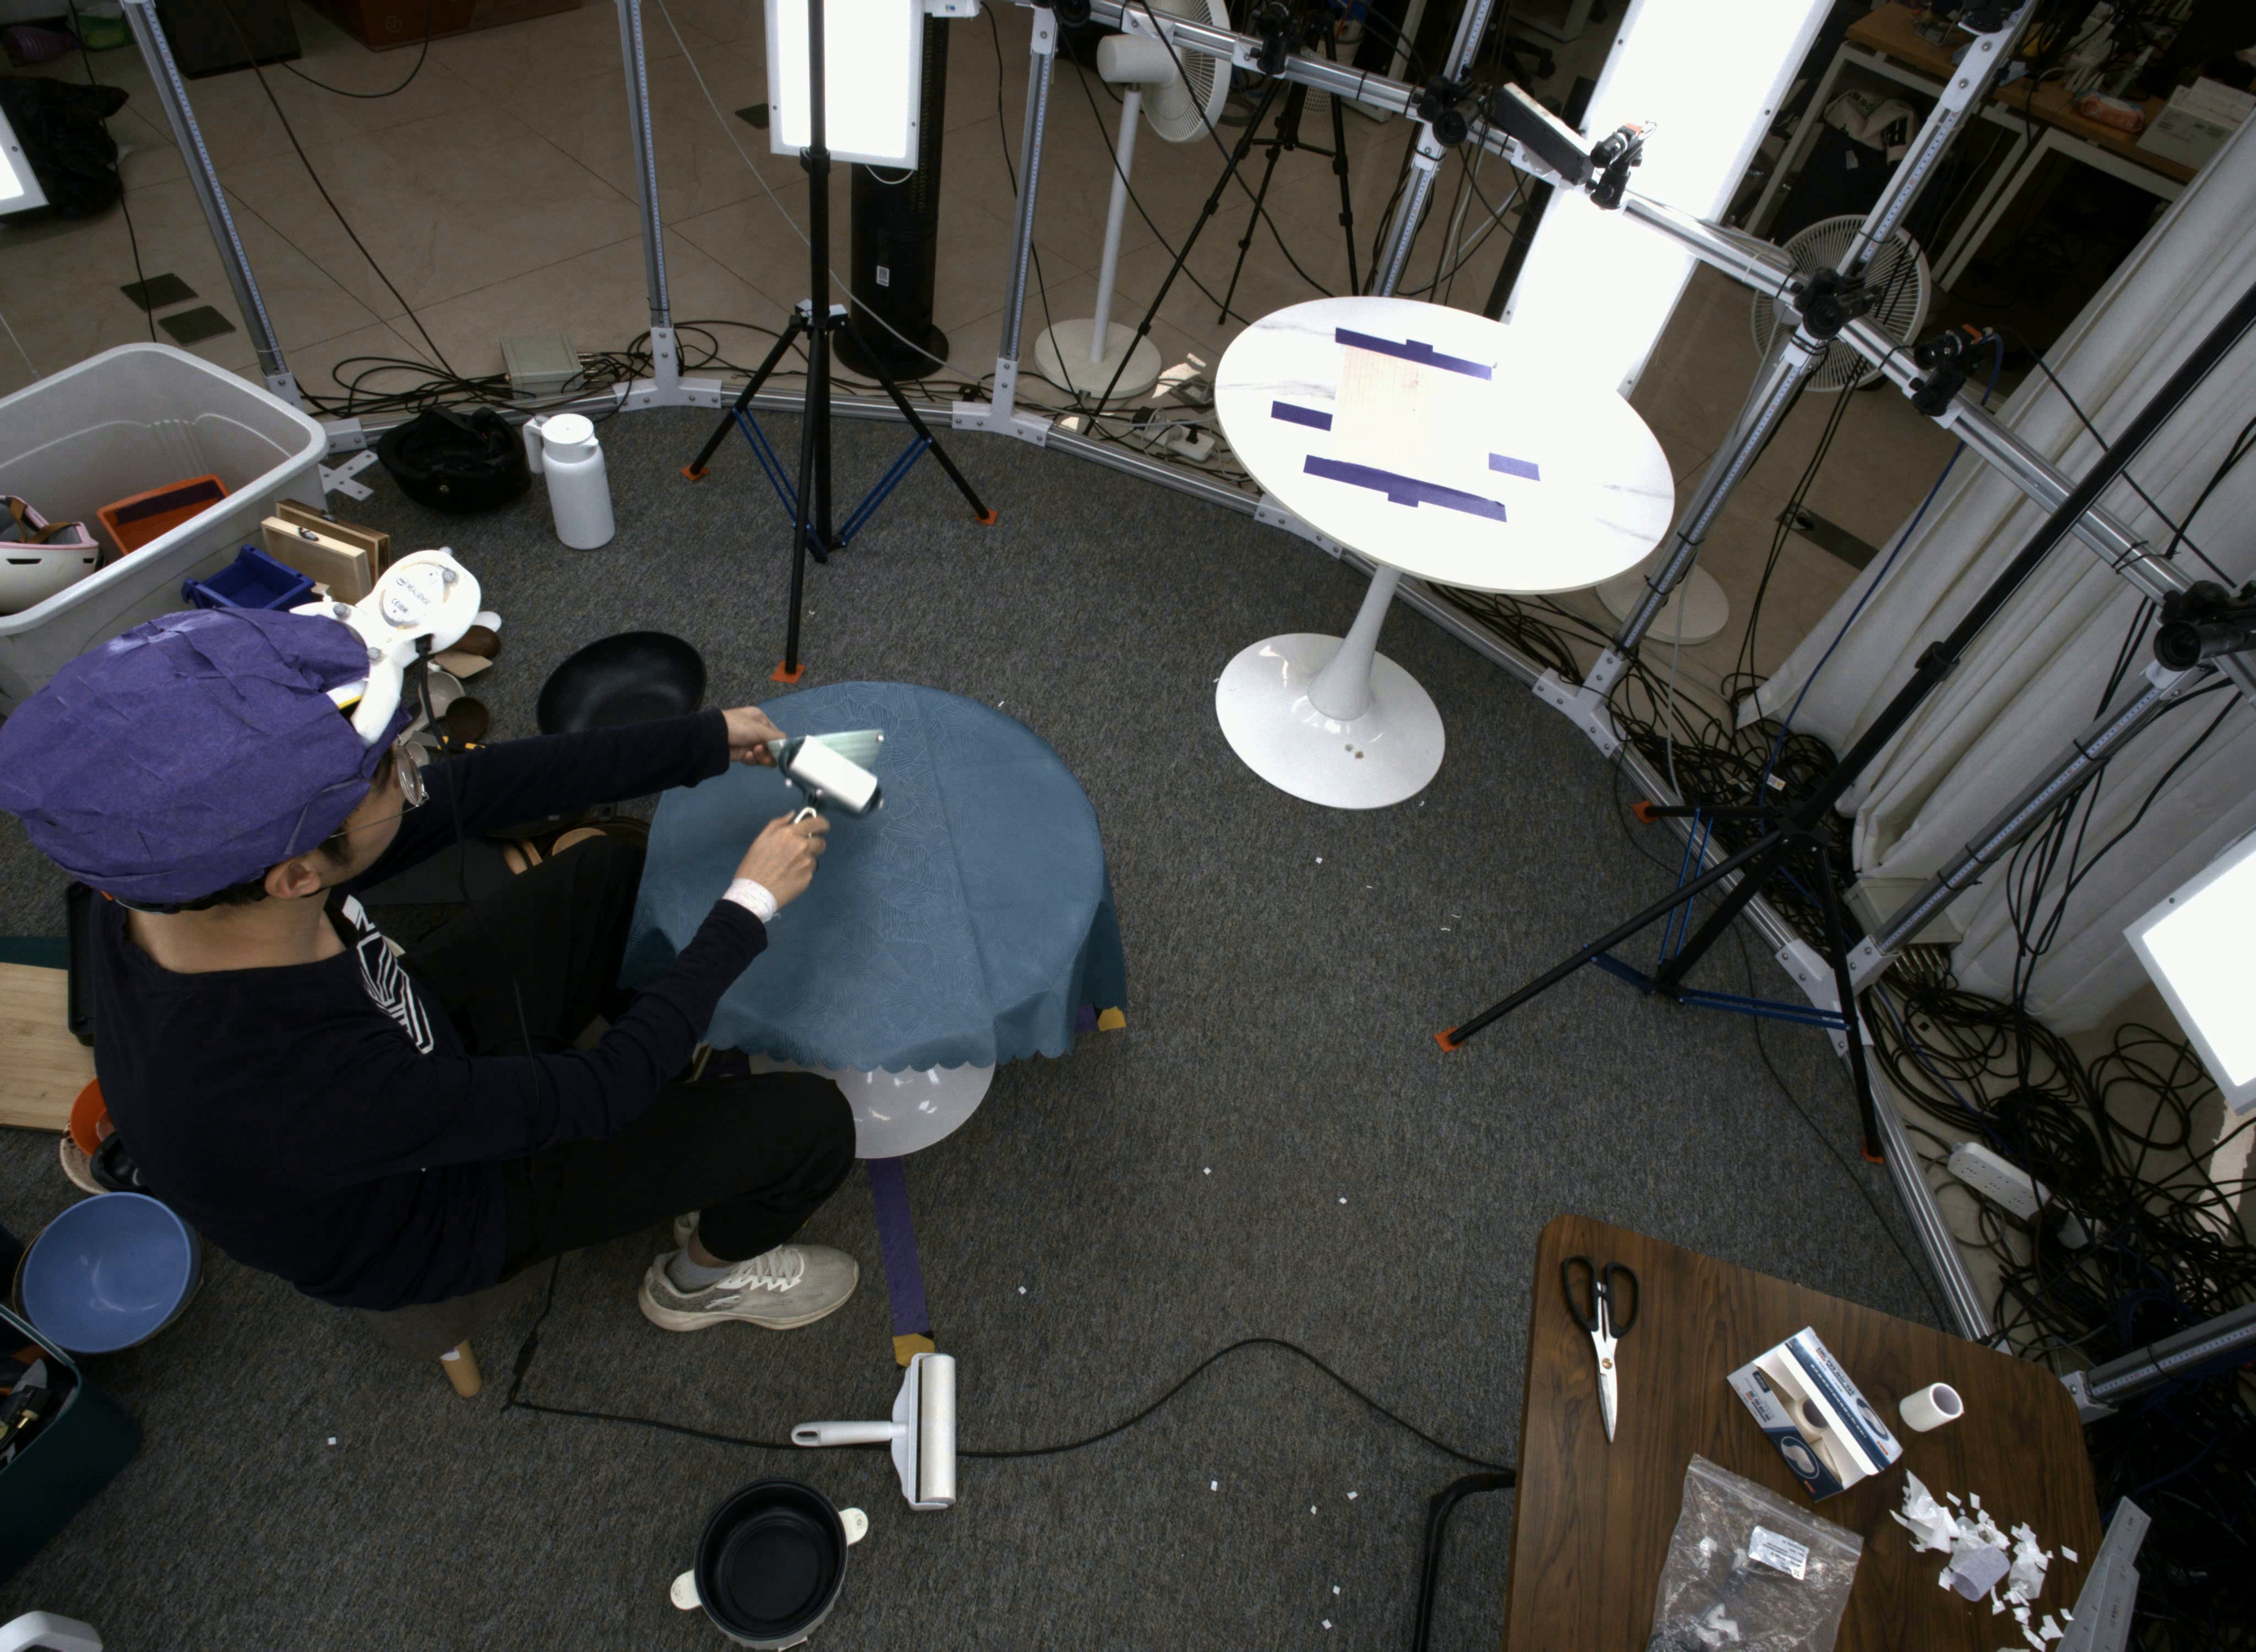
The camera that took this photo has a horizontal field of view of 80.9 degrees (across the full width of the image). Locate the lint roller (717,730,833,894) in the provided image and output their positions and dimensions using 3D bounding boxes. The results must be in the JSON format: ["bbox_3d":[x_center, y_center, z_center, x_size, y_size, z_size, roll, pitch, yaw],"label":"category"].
[{"bbox_3d":[-0.435,-0.007,1.521,0.137,0.047,0.179,29,64,-23],"label":"lint roller"}]

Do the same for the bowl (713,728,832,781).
[{"bbox_3d":[-0.445,-0.086,1.622,0.151,0.150,0.059,0,87,-13],"label":"bowl"}]
